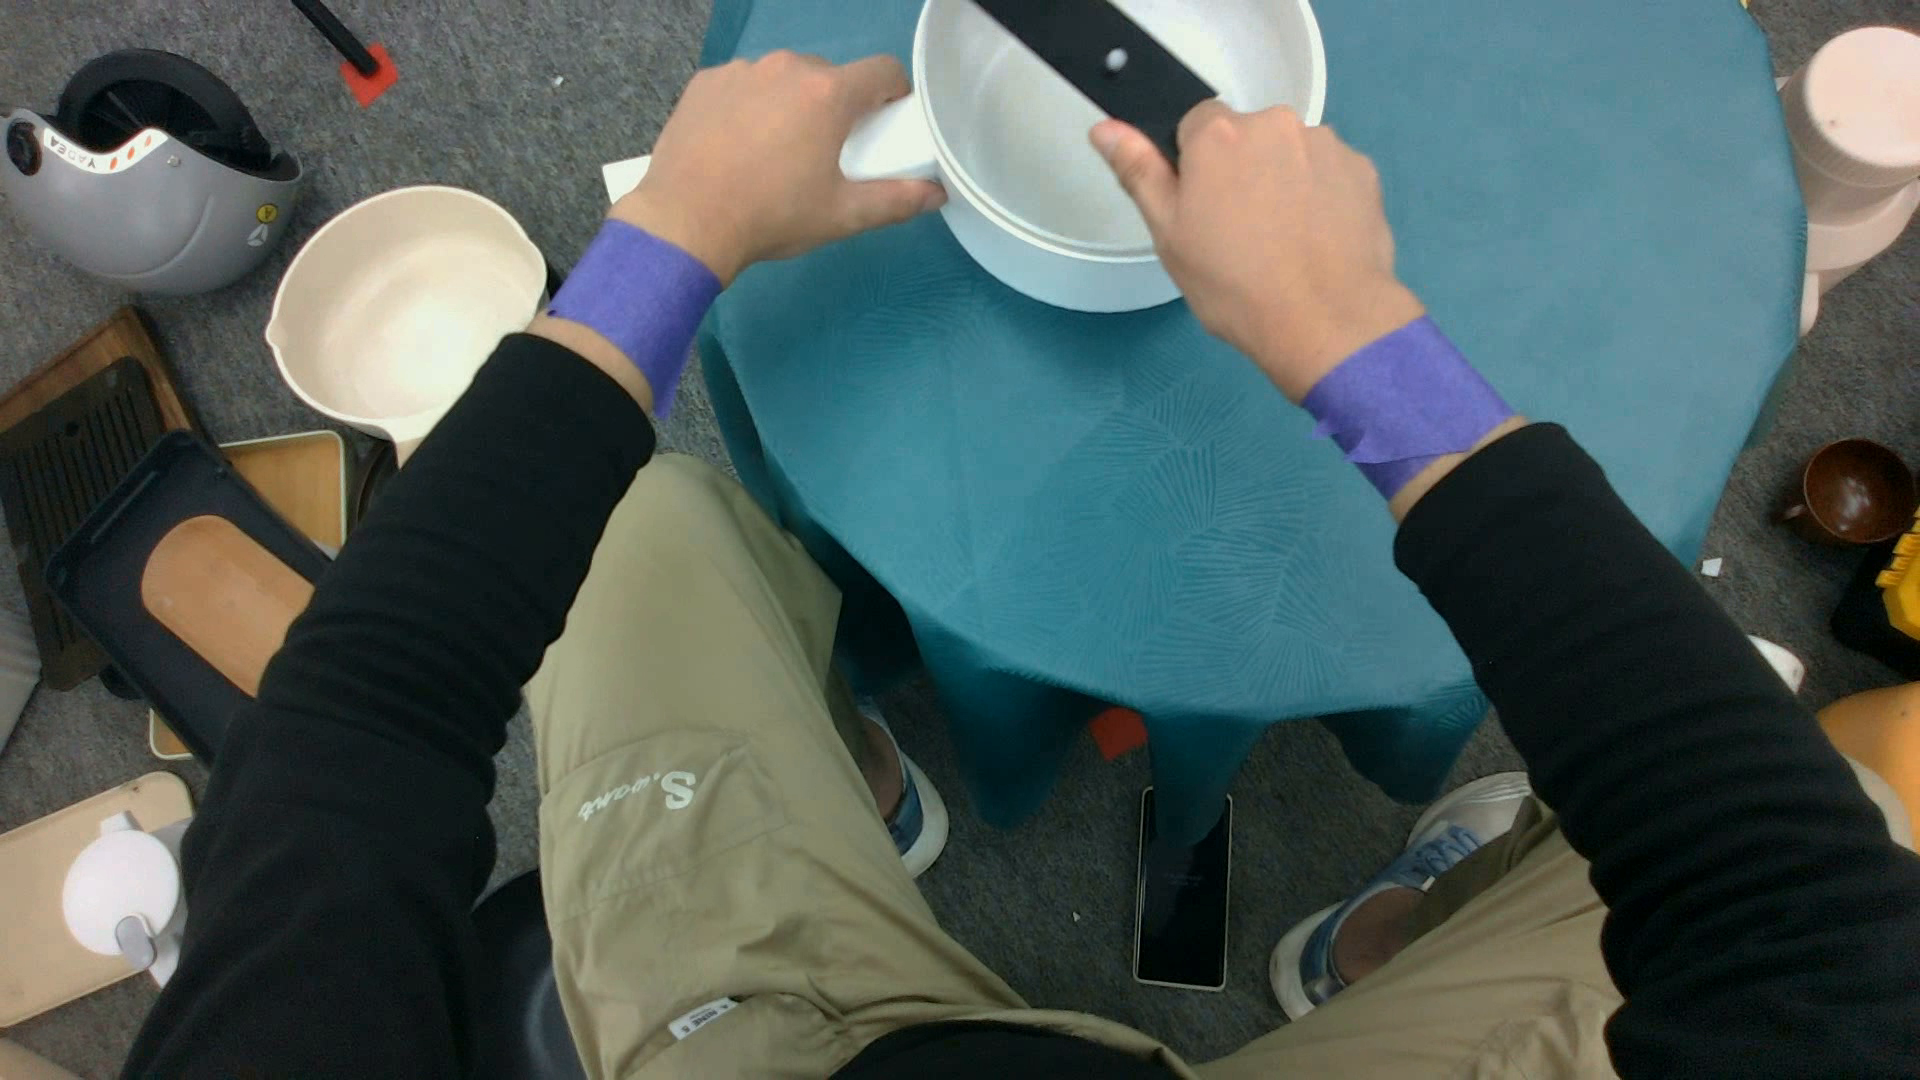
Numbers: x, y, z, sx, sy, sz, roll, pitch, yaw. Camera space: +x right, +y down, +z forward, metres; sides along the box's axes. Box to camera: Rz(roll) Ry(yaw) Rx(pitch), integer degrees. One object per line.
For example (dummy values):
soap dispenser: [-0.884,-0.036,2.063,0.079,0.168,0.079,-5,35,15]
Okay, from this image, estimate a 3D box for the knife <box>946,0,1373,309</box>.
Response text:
knife: [0.061,-0.206,0.609,0.302,0.021,0.081,45,53,12]

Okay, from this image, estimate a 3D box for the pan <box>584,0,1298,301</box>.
pan: [-0.008,-0.205,0.716,0.355,0.102,0.201,-16,79,-4]
